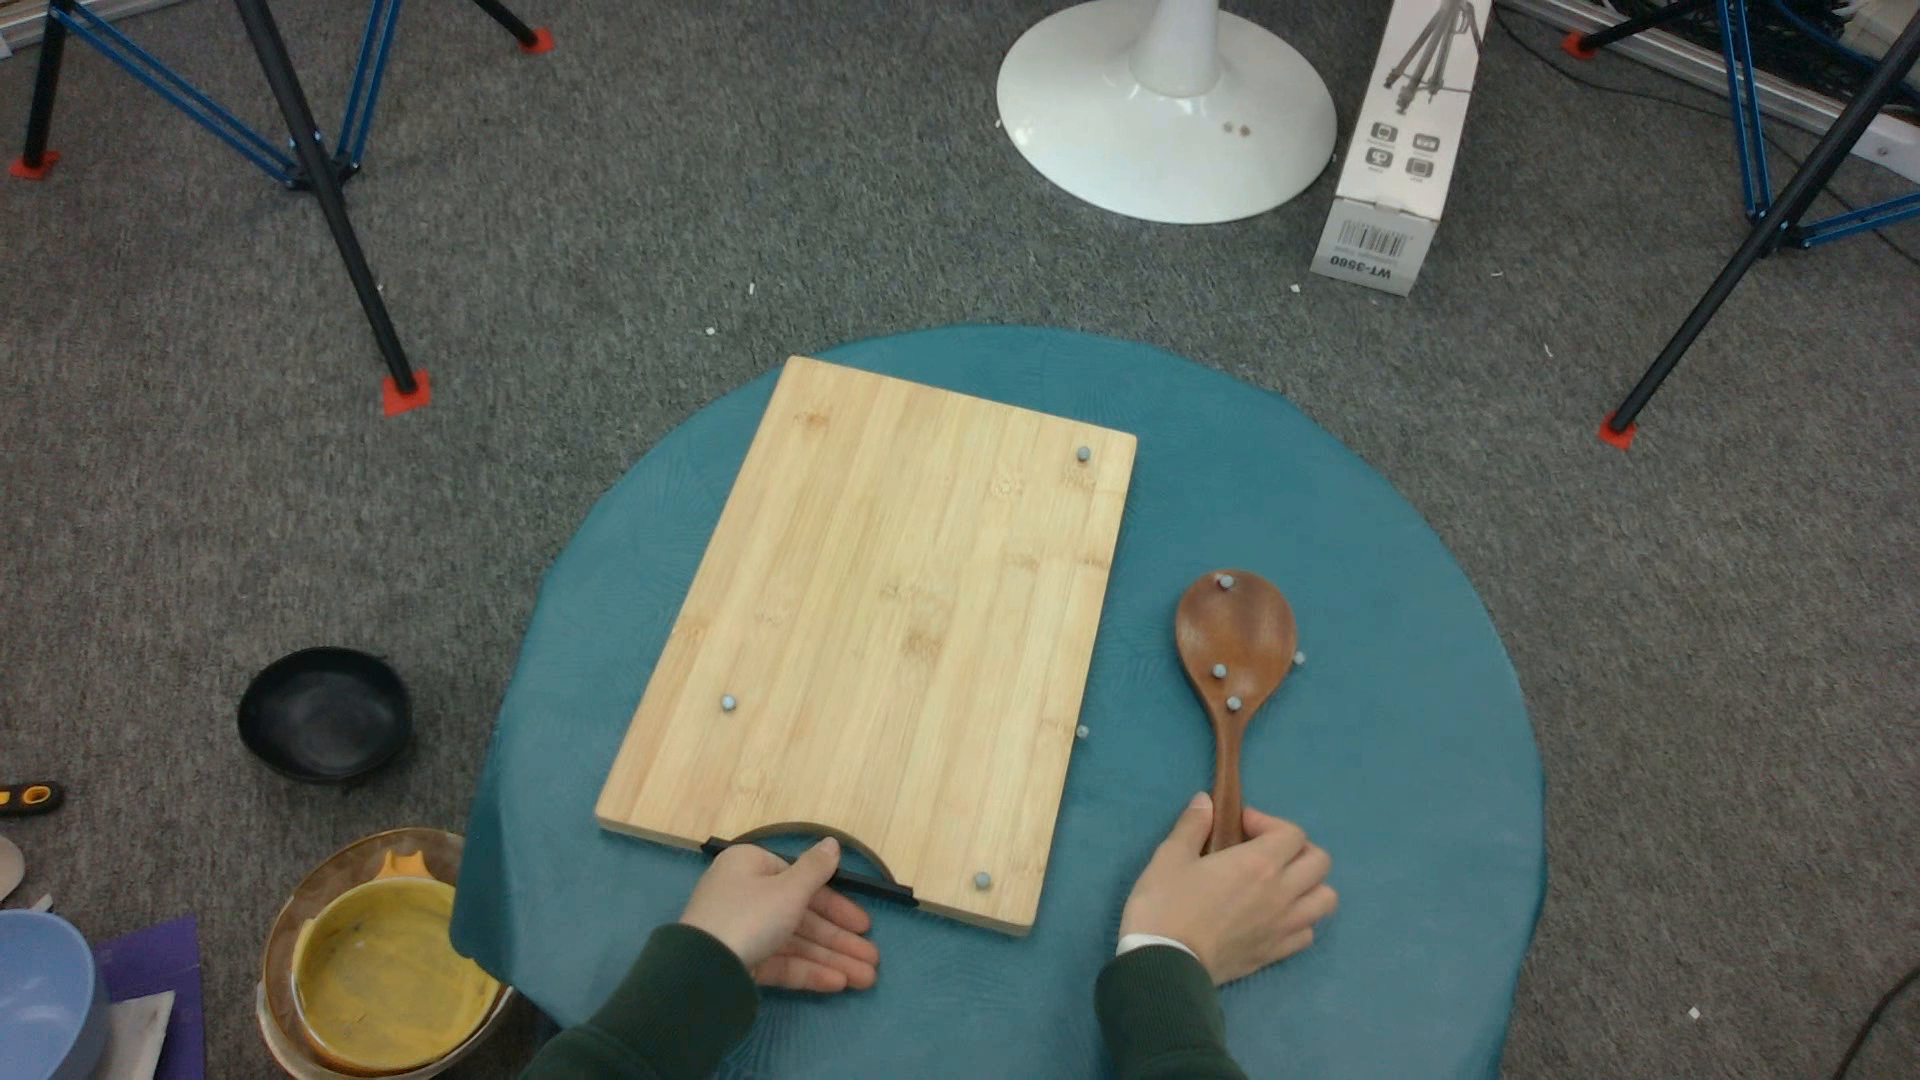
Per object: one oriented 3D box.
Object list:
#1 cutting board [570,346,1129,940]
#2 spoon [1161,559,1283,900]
[{"bbox_3d":[-0.047,0.041,0.818,0.250,0.023,0.350,13,56,4],"label":"cutting board"},{"bbox_3d":[0.148,0.103,0.795,0.075,0.017,0.217,11,55,-1],"label":"spoon"}]
